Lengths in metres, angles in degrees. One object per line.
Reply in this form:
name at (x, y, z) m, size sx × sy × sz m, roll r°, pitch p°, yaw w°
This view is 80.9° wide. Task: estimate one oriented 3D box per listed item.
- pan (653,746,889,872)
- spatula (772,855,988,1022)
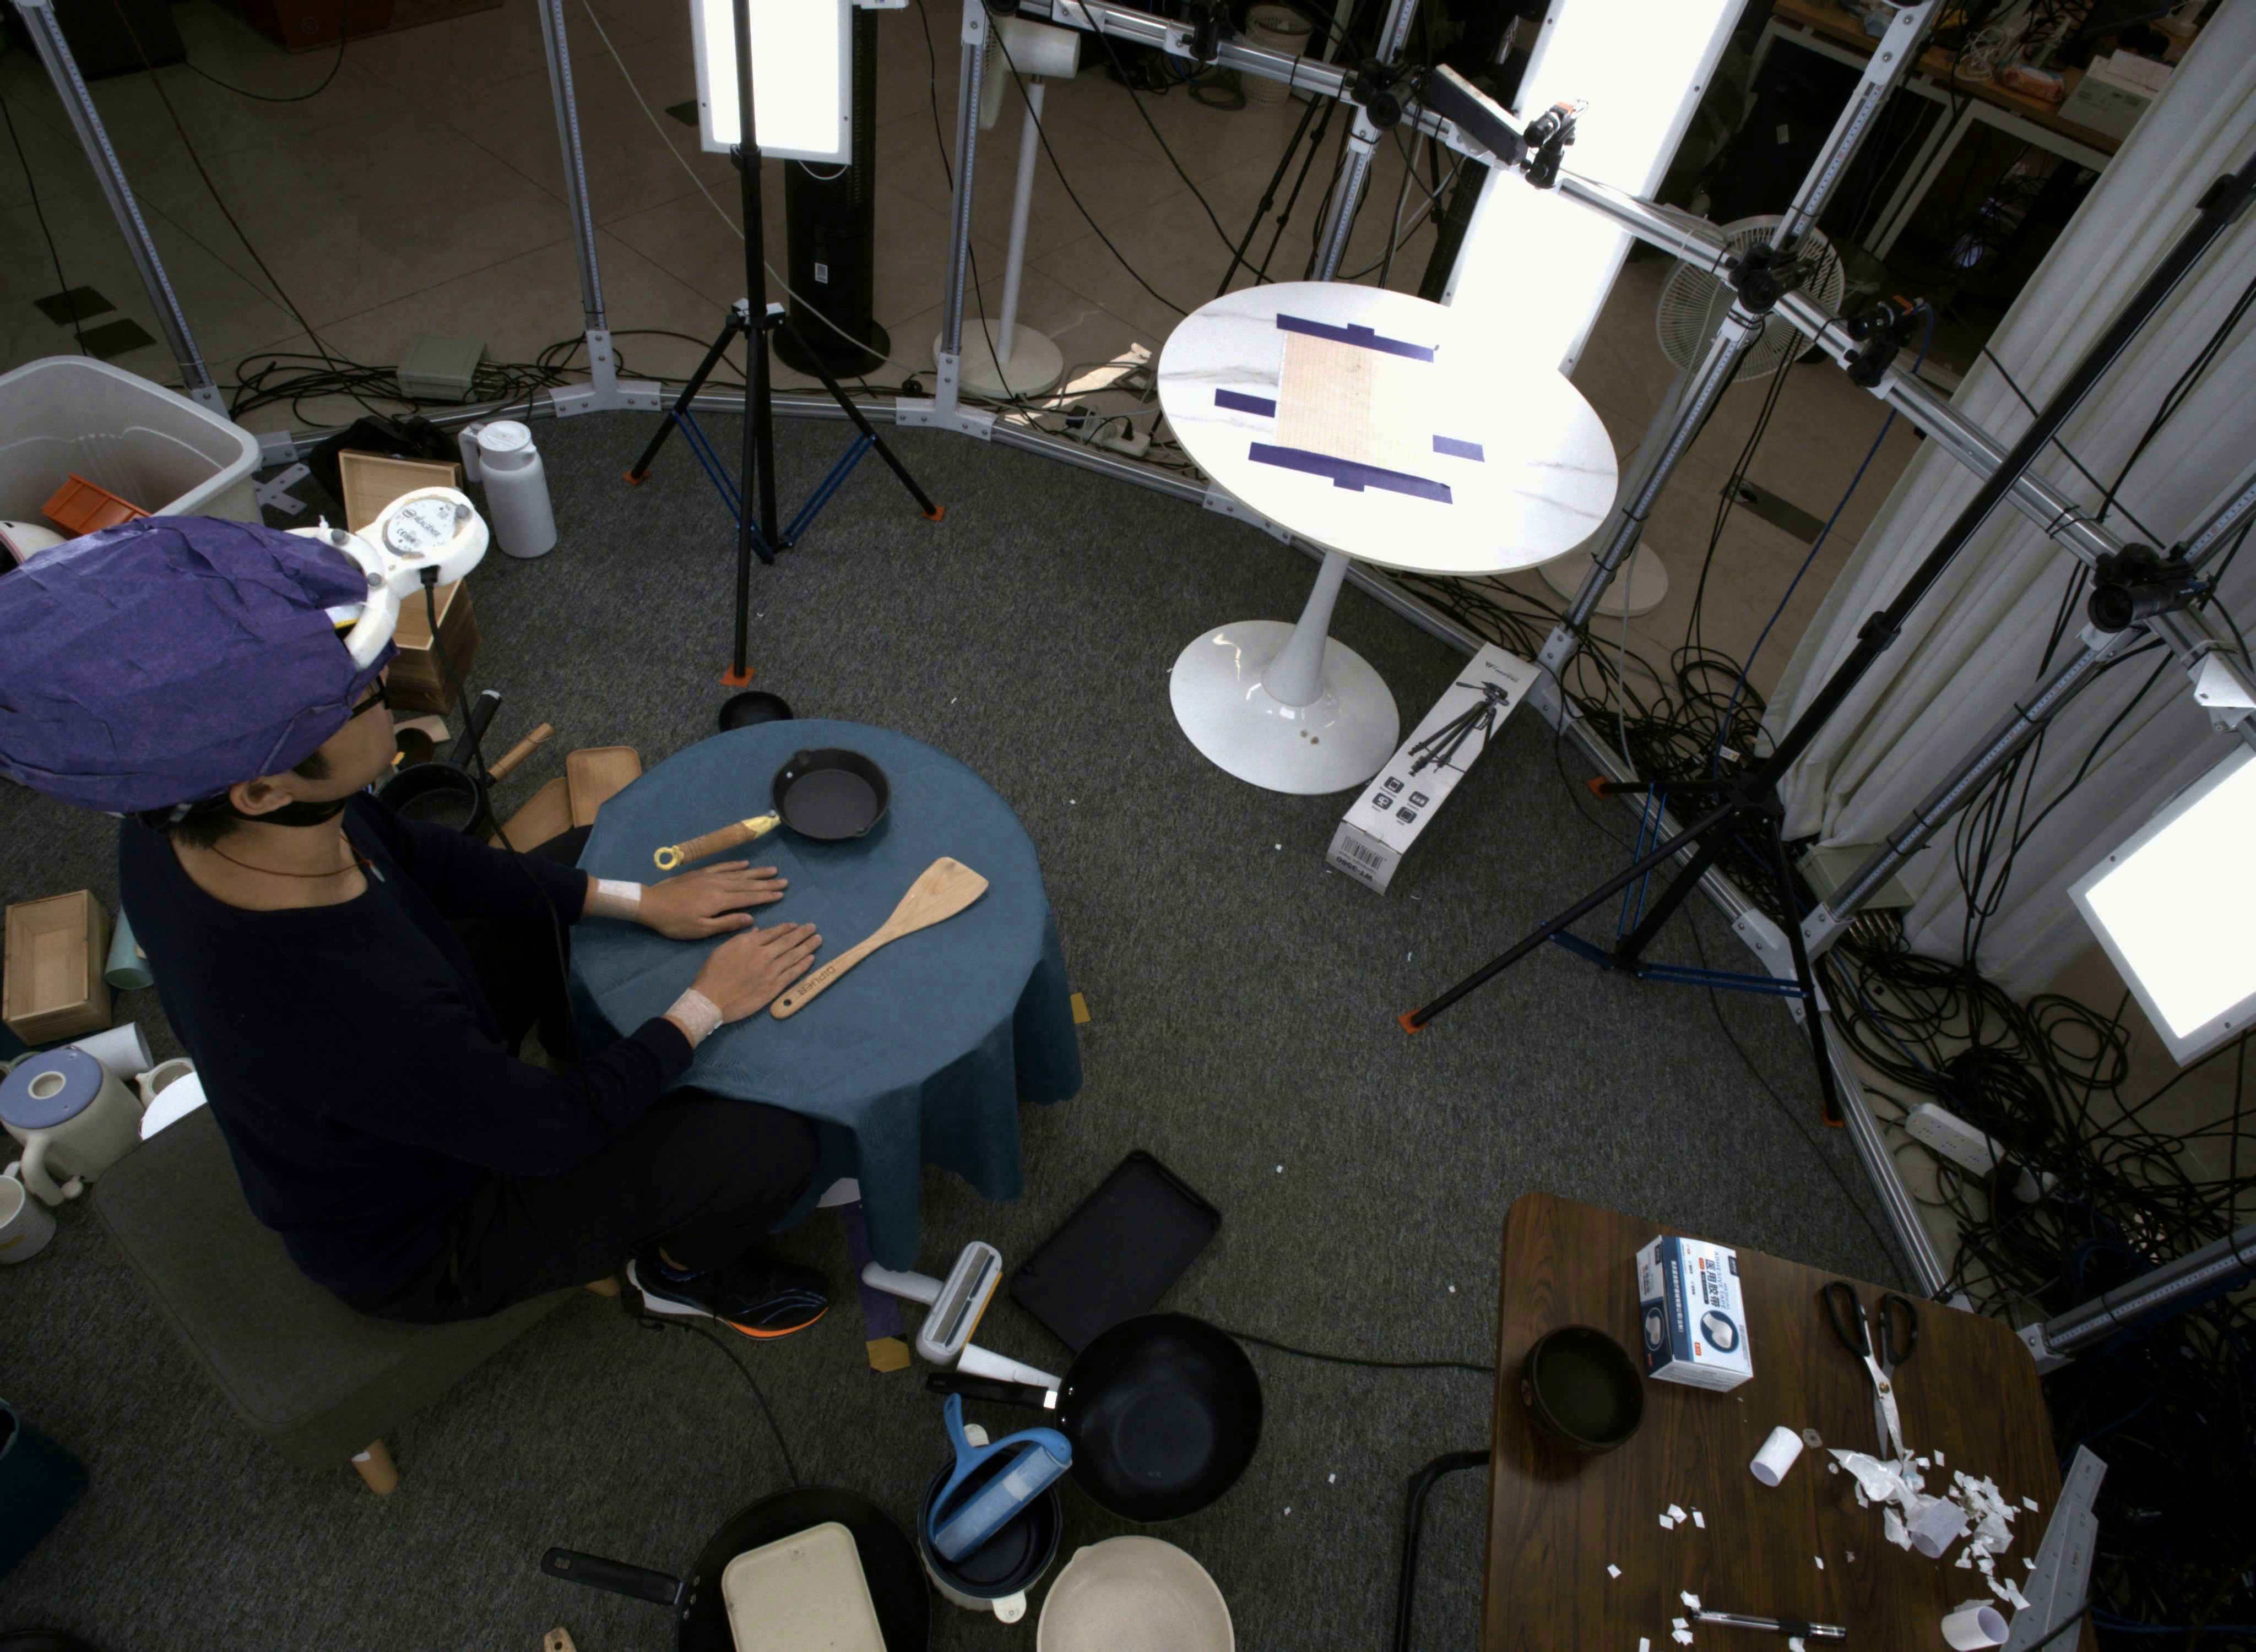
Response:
pan at (-0.463, -0.010, 1.678) m, size 0.326 × 0.050 × 0.165 m, roll -26°, pitch 64°, yaw -31°
spatula at (-0.314, 0.138, 1.629) m, size 0.078 × 0.017 × 0.328 m, roll 40°, pitch 54°, yaw 17°
